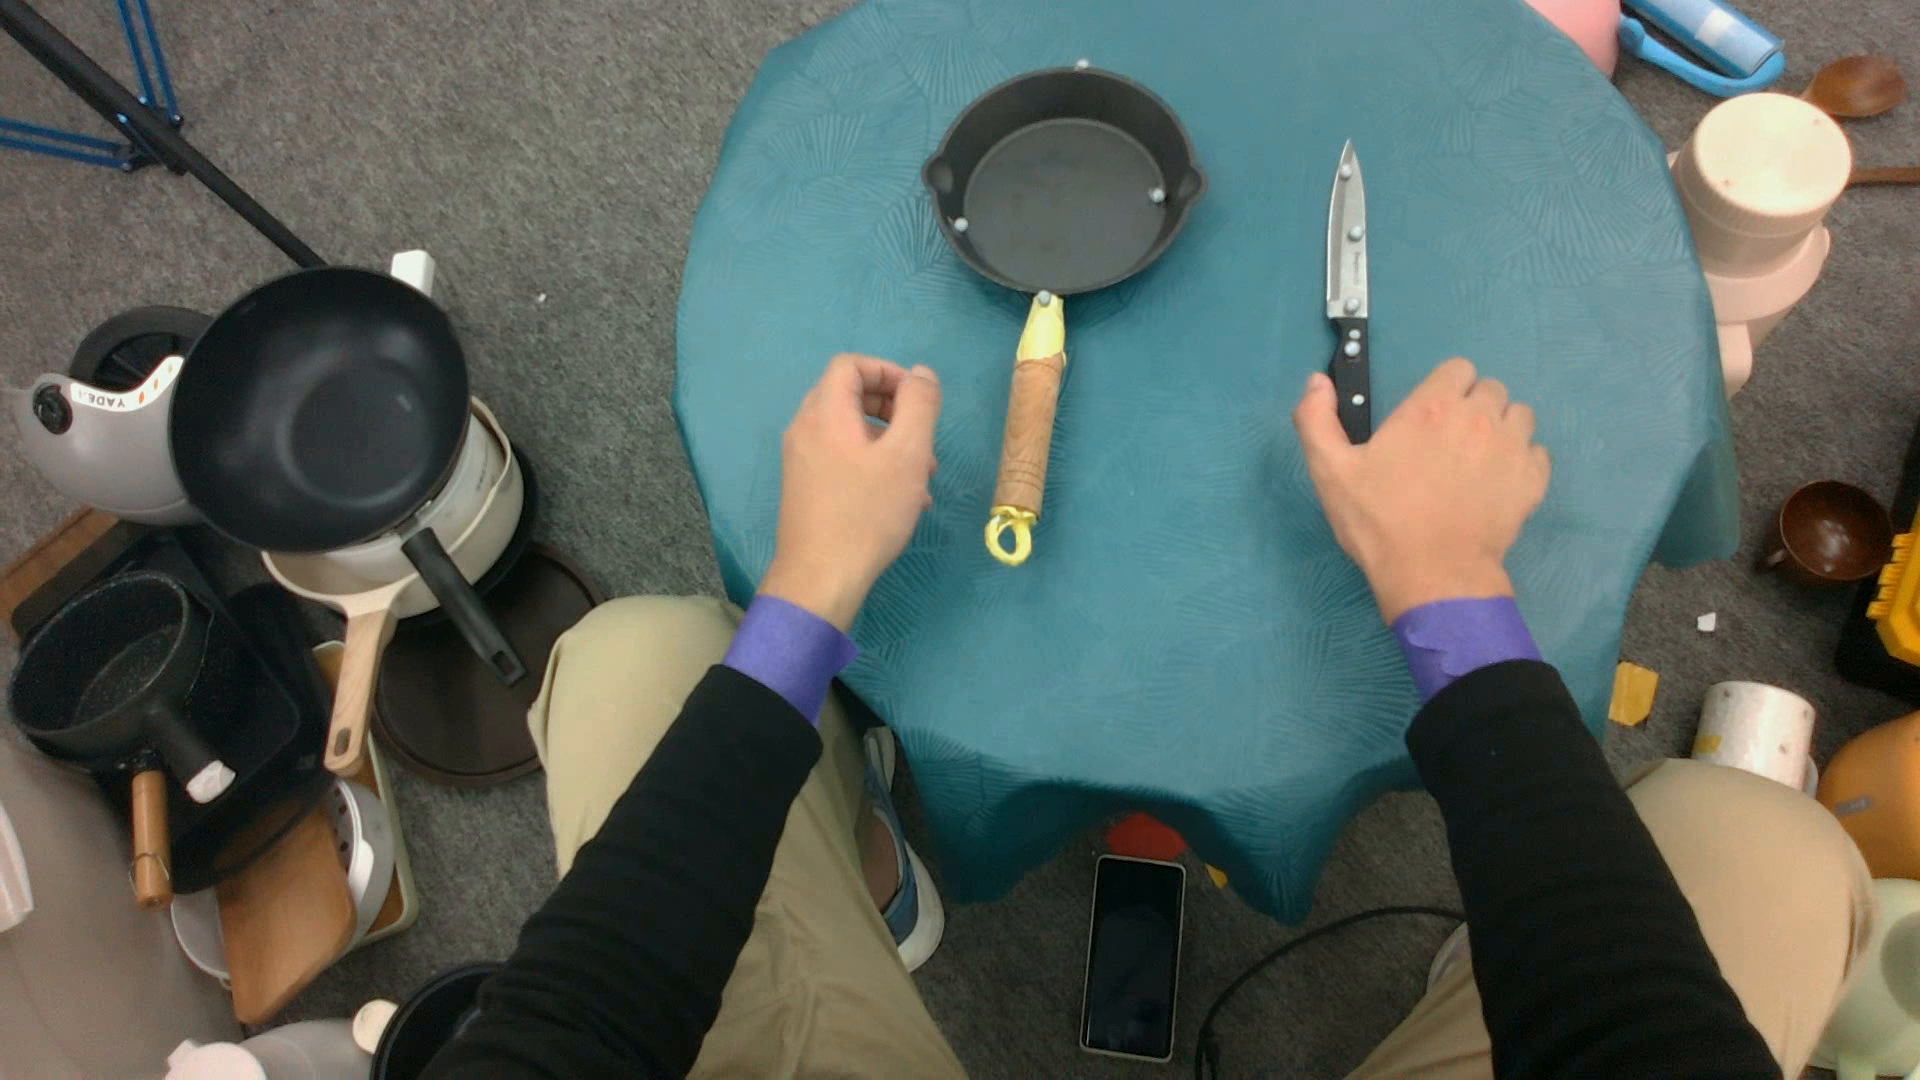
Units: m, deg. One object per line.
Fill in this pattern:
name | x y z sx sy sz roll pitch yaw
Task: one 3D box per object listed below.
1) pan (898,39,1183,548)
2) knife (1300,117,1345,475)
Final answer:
pan | 0.034 -0.146 0.792 0.169 0.049 0.325 7 72 8
knife | 0.209 -0.147 0.793 0.024 0.016 0.239 2 68 7
